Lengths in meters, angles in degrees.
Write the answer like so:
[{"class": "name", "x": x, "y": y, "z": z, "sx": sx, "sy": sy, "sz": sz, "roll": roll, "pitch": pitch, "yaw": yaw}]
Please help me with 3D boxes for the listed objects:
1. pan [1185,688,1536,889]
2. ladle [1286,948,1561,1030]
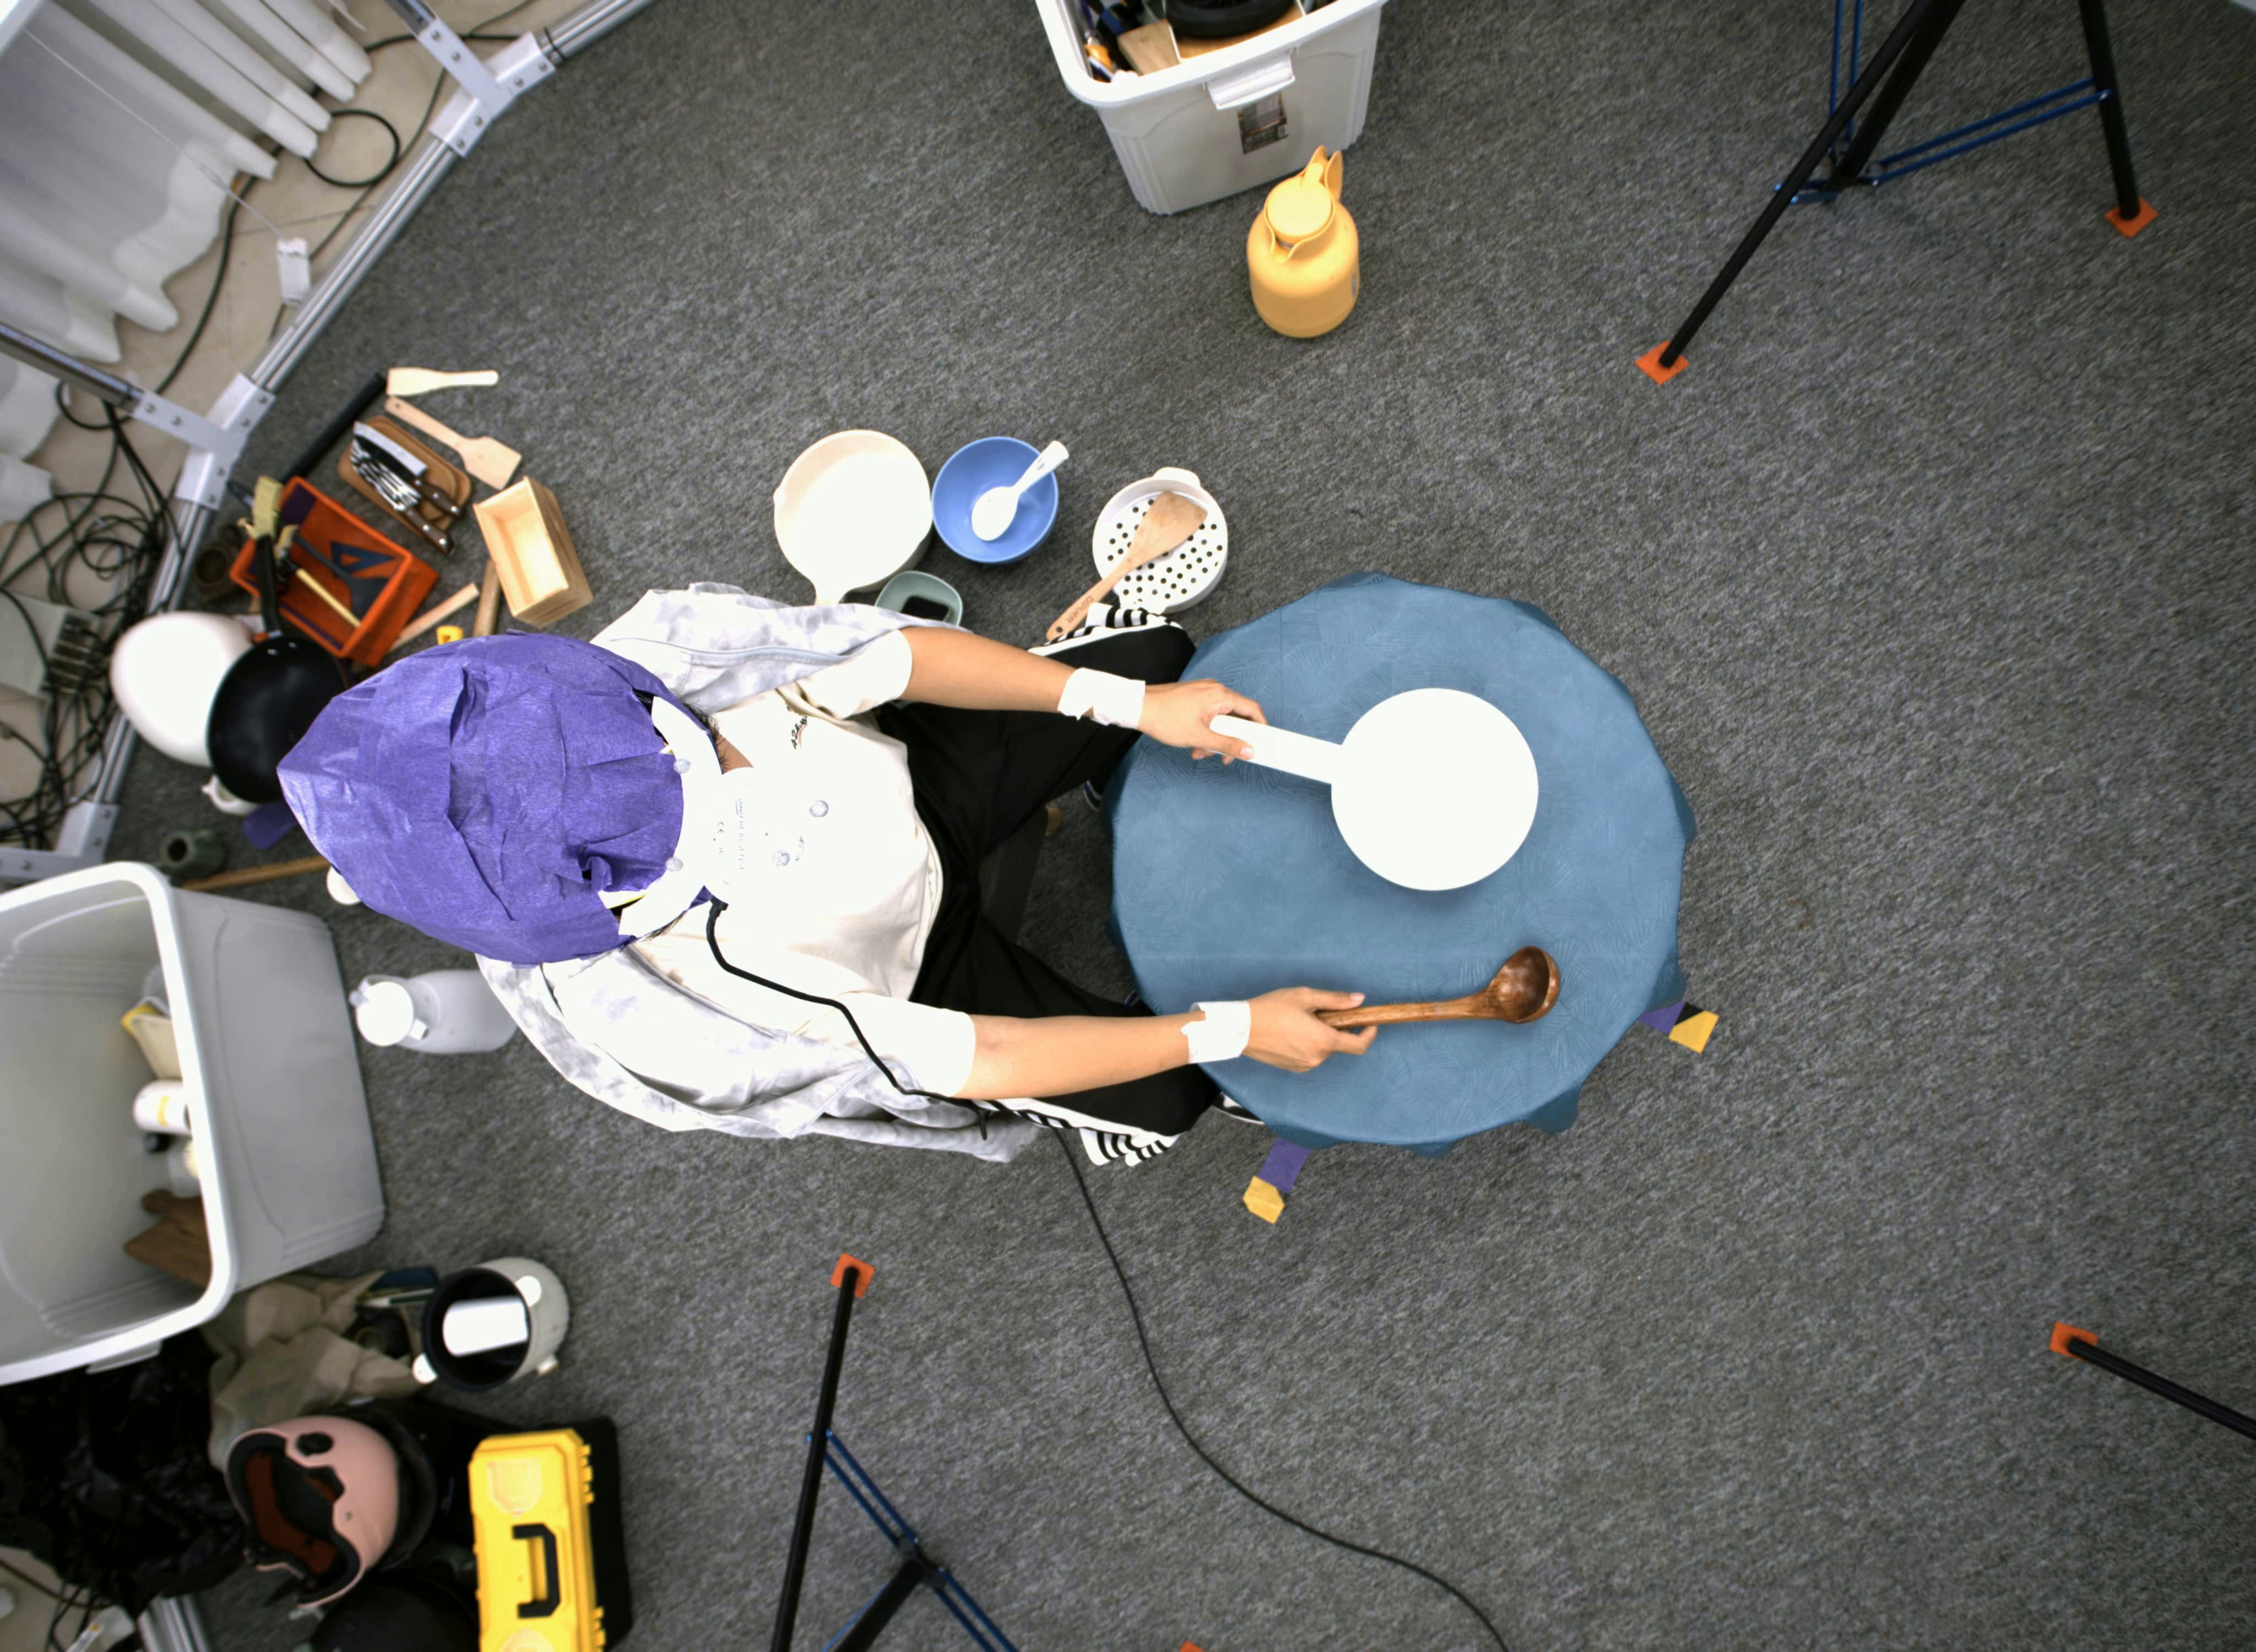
[{"class": "pan", "x": 0.237, "y": -0.056, "z": 1.422, "sx": 0.355, "sy": 0.102, "sz": 0.201, "roll": 16, "pitch": 91, "yaw": 12}, {"class": "ladle", "x": 0.297, "y": 0.169, "z": 1.397, "sx": 0.275, "sy": 0.080, "sz": 0.078, "roll": -3, "pitch": 129, "yaw": 4}]
